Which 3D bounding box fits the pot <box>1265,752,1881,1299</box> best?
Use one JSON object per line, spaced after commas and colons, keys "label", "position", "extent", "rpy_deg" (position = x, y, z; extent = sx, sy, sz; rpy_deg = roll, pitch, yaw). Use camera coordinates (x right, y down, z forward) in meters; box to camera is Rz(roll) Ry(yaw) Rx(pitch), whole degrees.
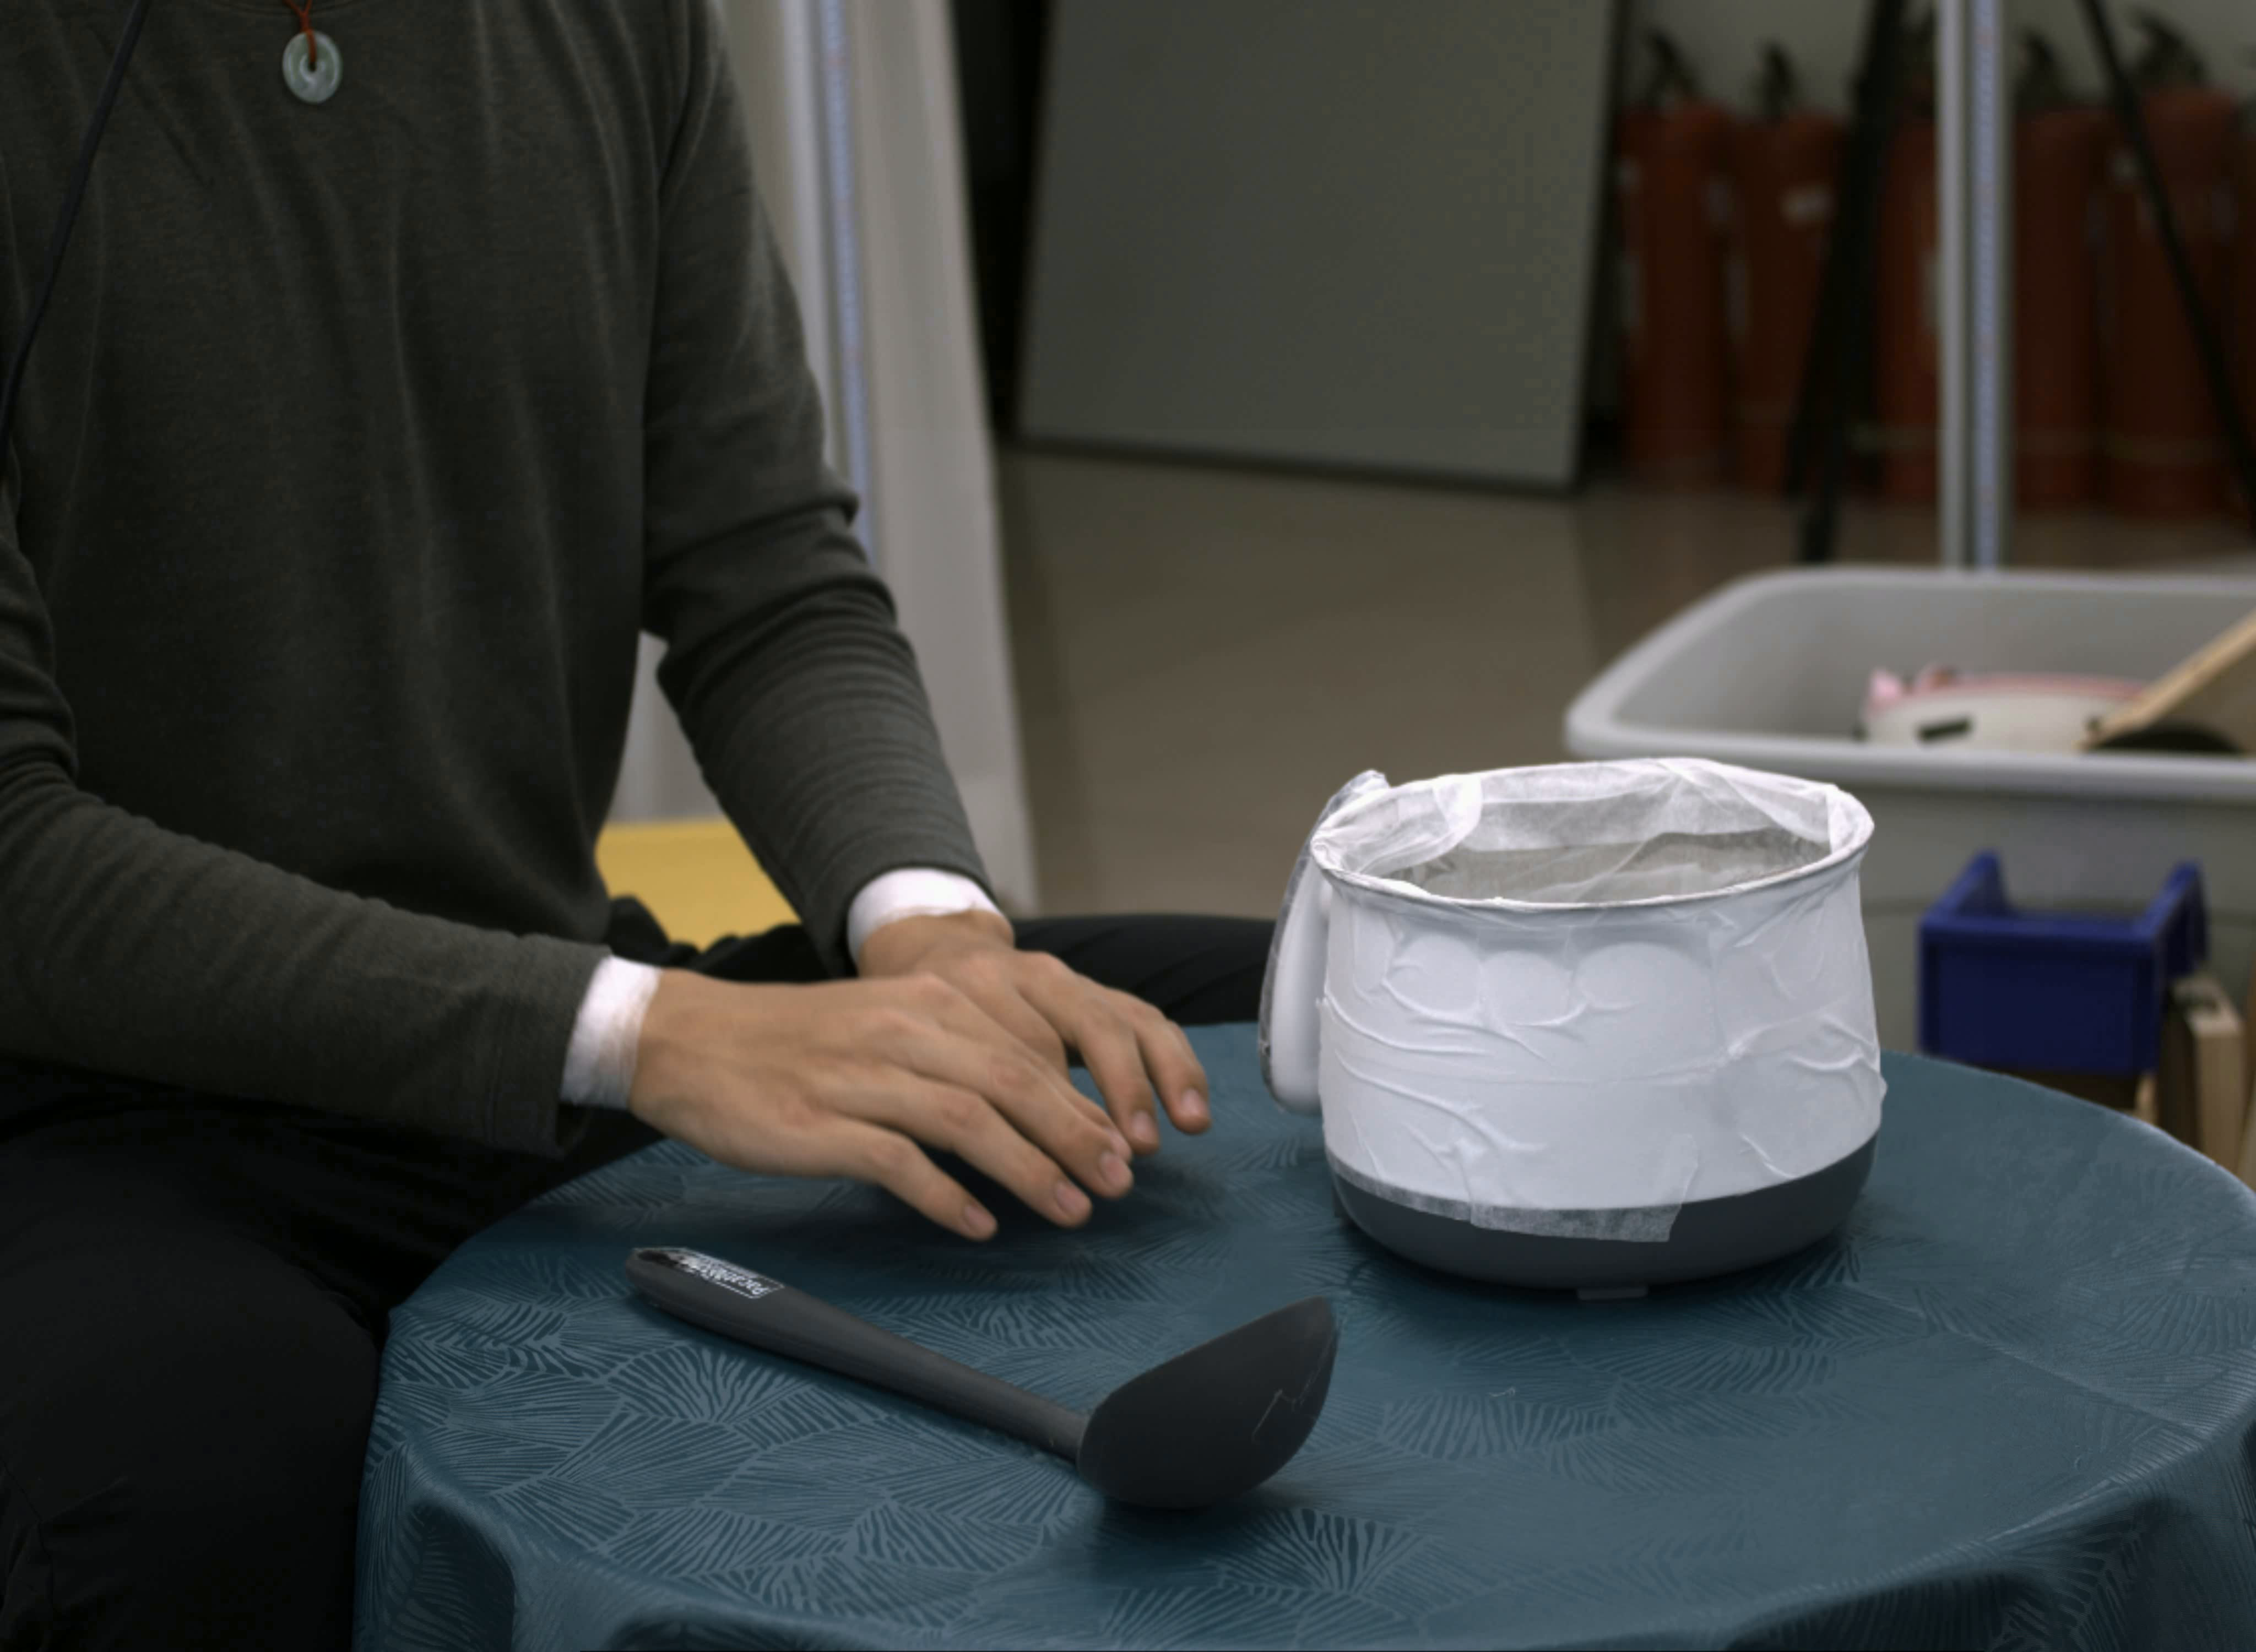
{"label": "pot", "position": [0.129, 0.057, 1.708], "extent": [0.175, 0.138, 0.236], "rpy_deg": [-15, 17, -40]}

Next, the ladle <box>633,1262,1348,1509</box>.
{"label": "ladle", "position": [-0.056, 0.142, 1.574], "extent": [0.084, 0.064, 0.317], "rpy_deg": [-13, 16, -36]}
